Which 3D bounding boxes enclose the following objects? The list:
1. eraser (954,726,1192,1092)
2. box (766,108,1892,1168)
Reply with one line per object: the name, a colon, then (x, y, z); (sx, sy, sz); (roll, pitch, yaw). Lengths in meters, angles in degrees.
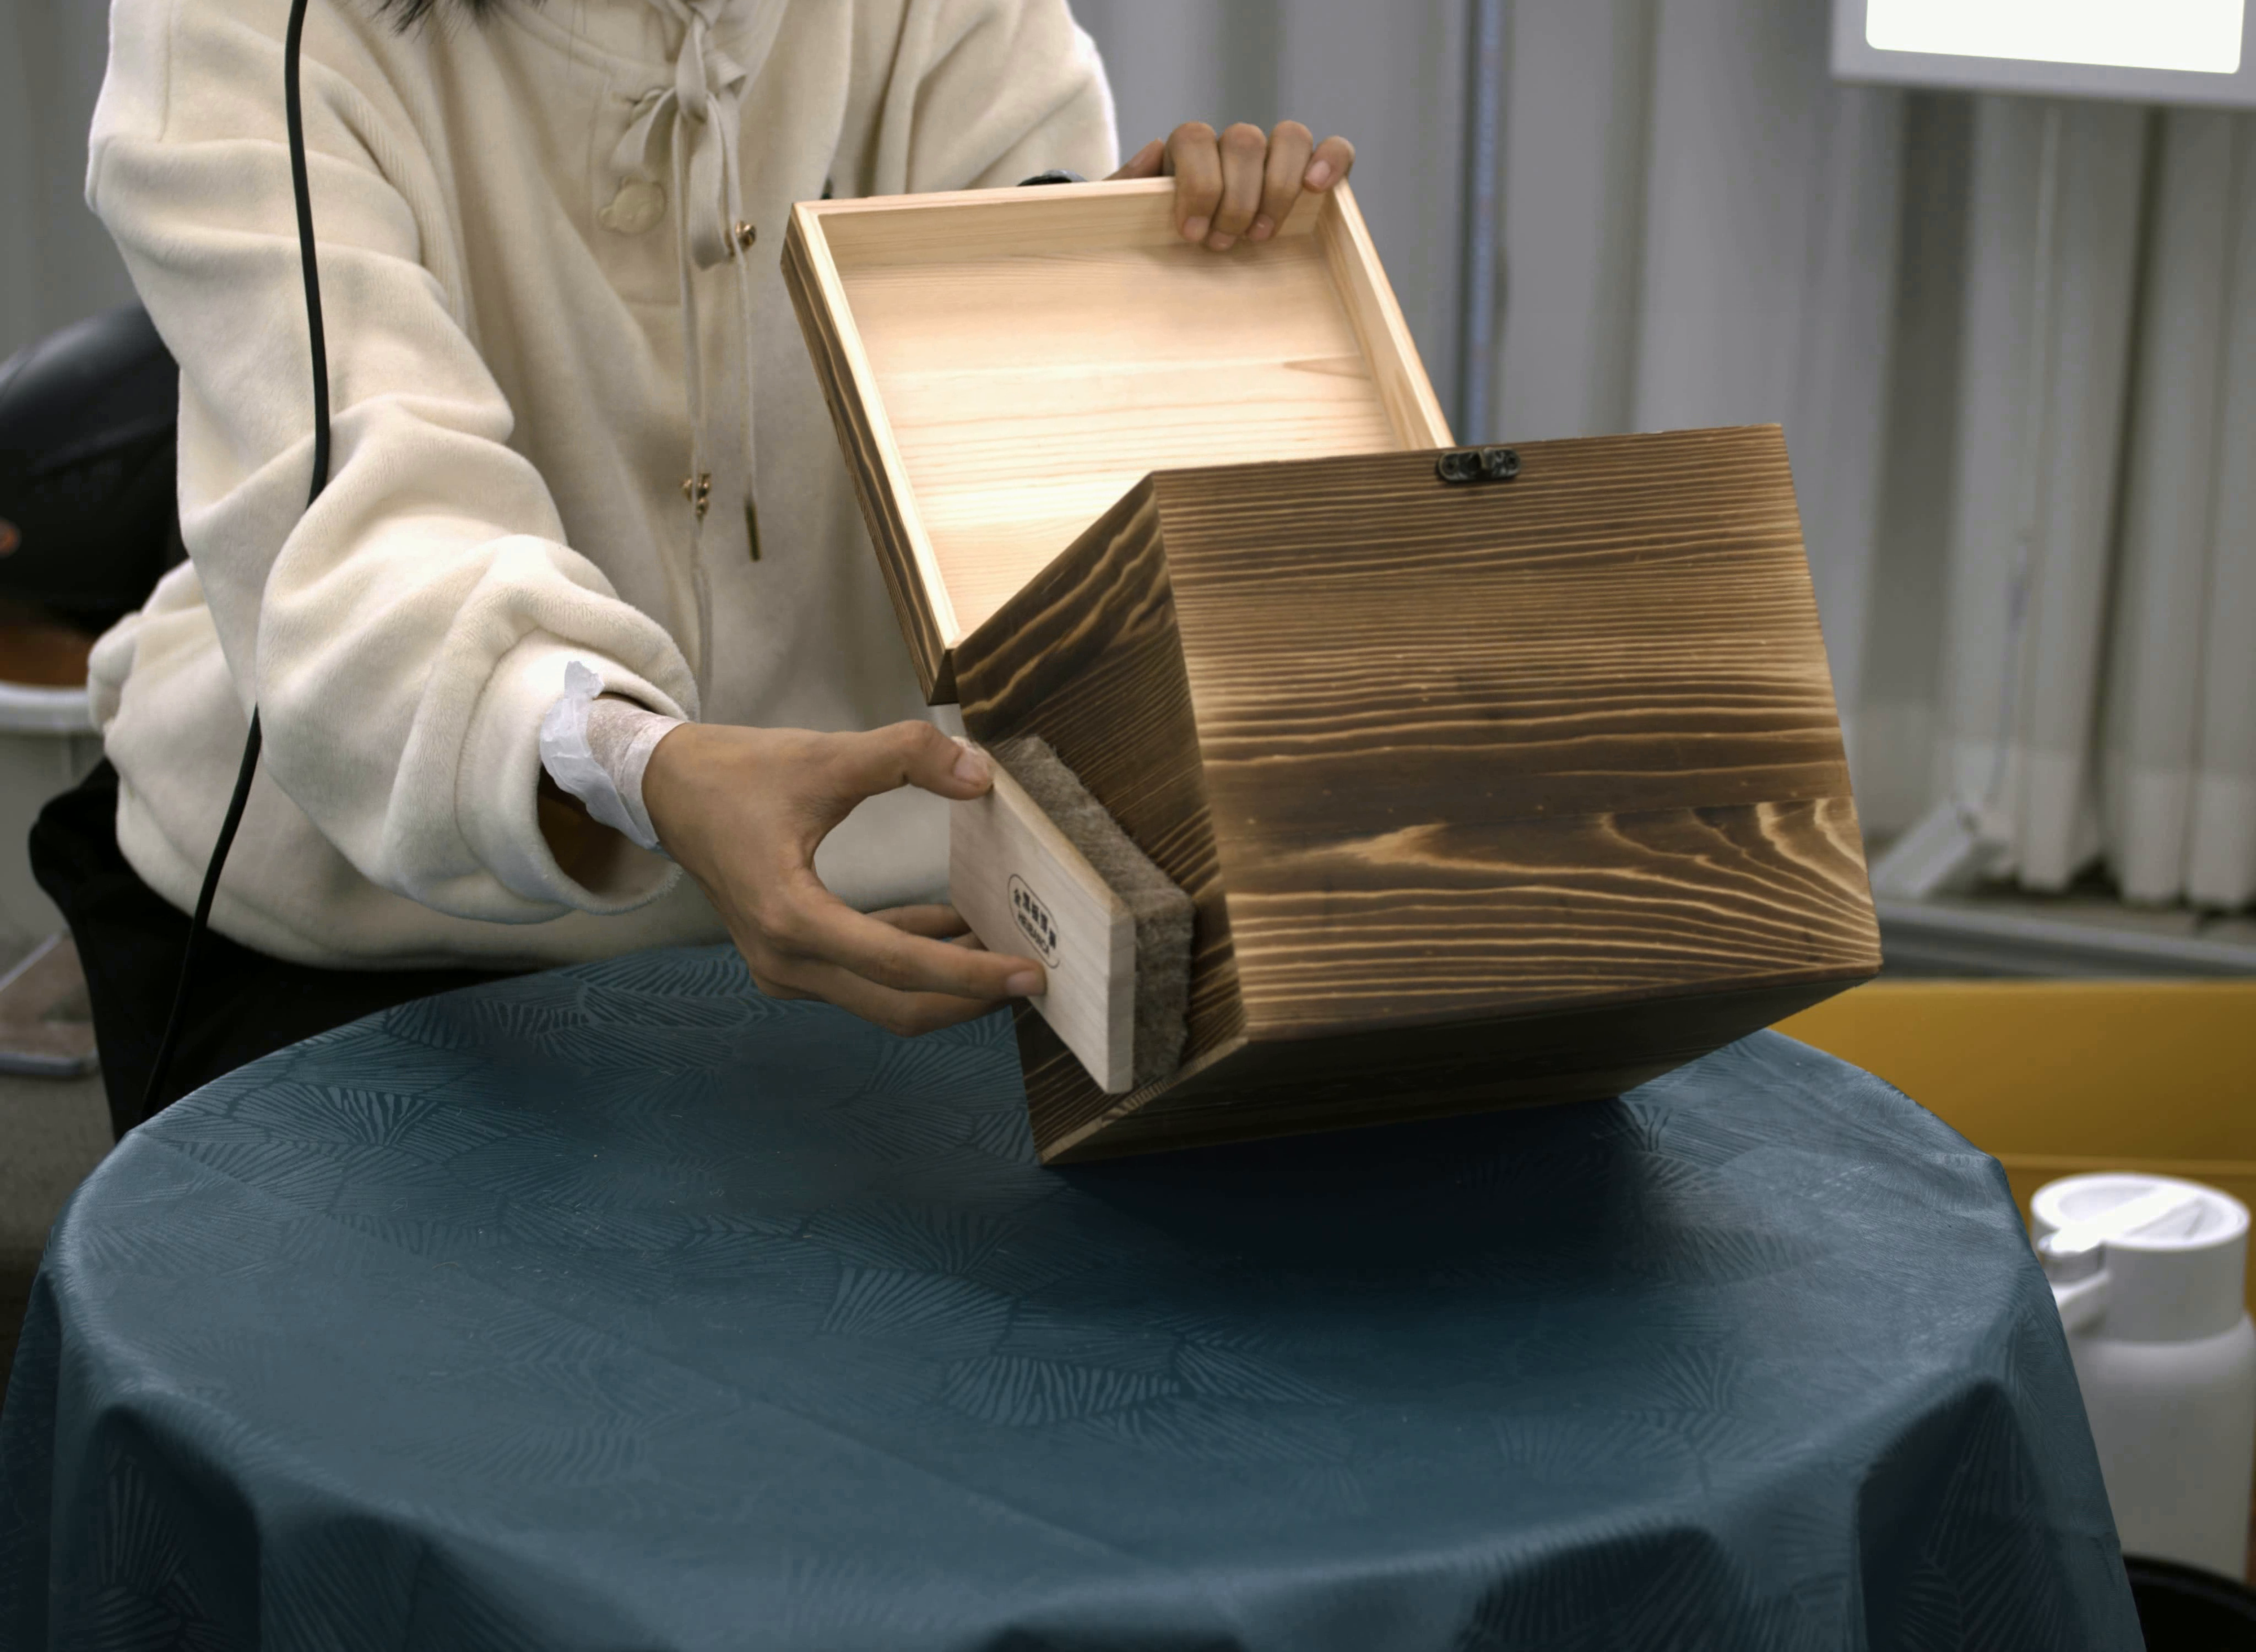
eraser: (-0.017, 0.022, 1.549); (0.029, 0.057, 0.137); (-7, 26, -18)
box: (0.048, -0.090, 1.662); (0.209, 0.375, 0.321); (-7, -10, -21)
